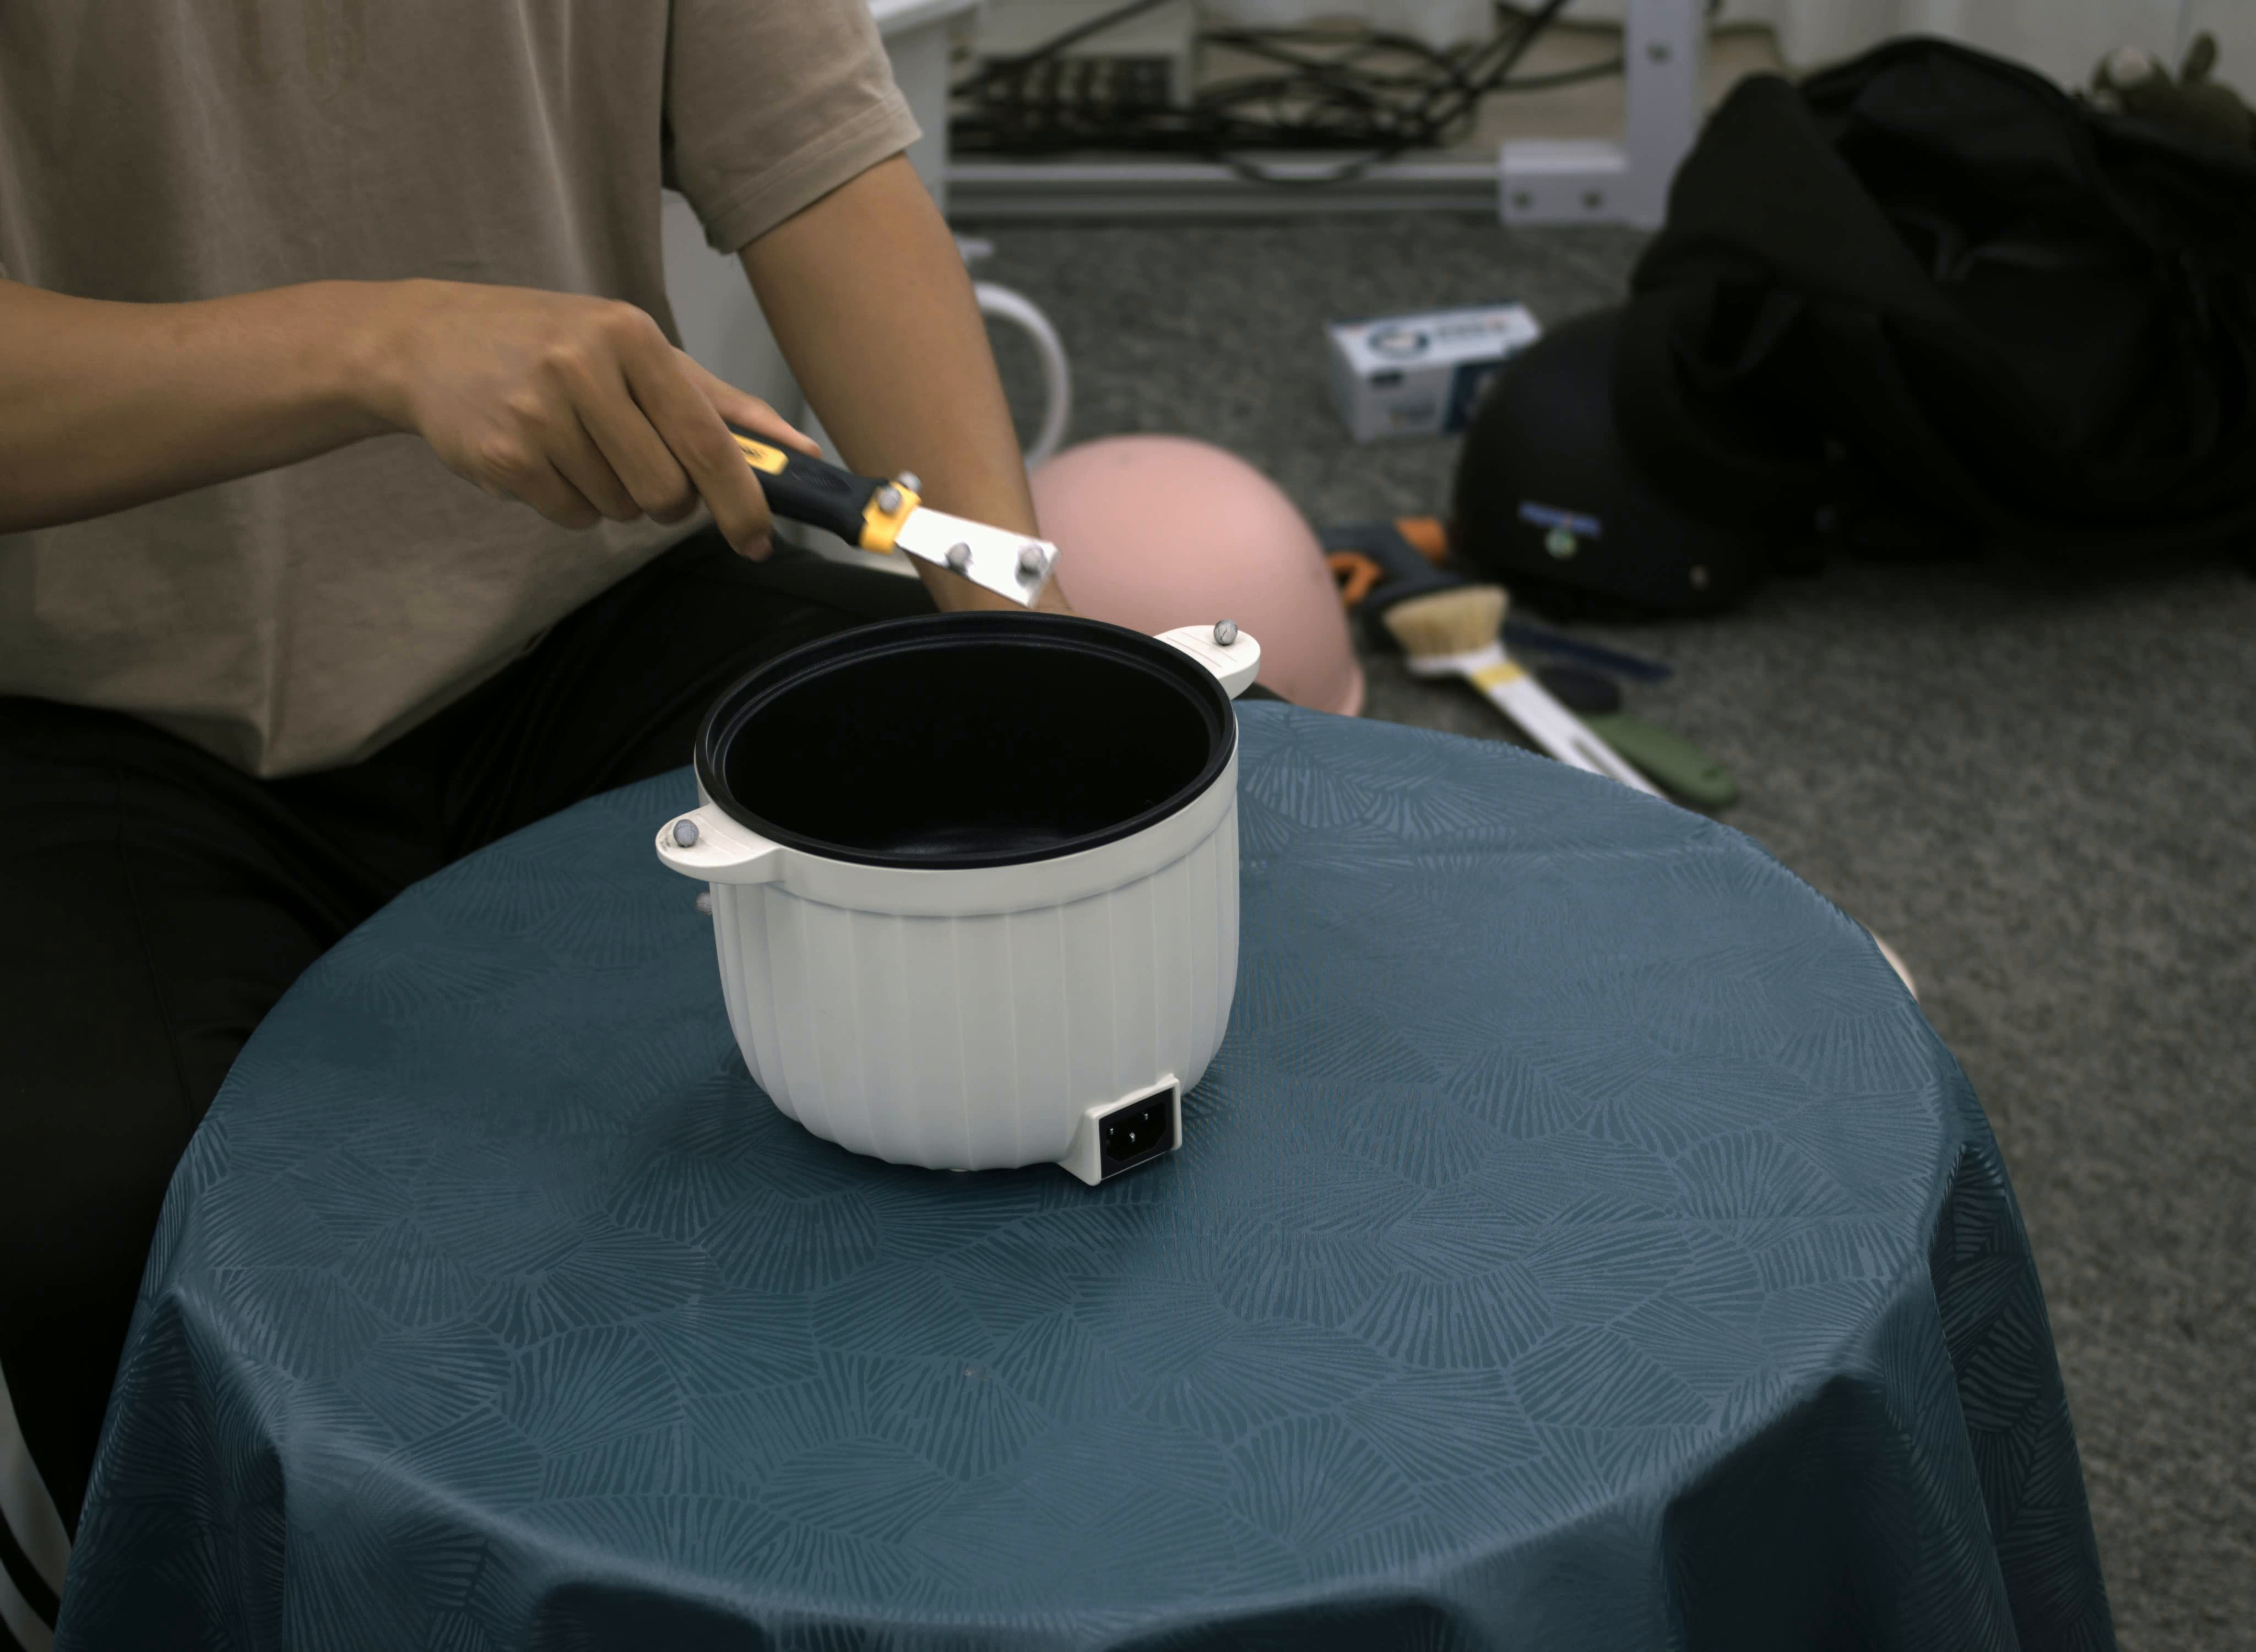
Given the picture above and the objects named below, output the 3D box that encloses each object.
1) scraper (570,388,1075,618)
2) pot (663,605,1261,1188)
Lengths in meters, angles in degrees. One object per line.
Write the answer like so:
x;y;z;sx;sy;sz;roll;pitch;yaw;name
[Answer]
-0.101;-0.106;1.839;0.170;0.014;0.039;19;45;4;scraper
-0.055;0.025;1.903;0.242;0.141;0.191;-21;36;-33;pot
